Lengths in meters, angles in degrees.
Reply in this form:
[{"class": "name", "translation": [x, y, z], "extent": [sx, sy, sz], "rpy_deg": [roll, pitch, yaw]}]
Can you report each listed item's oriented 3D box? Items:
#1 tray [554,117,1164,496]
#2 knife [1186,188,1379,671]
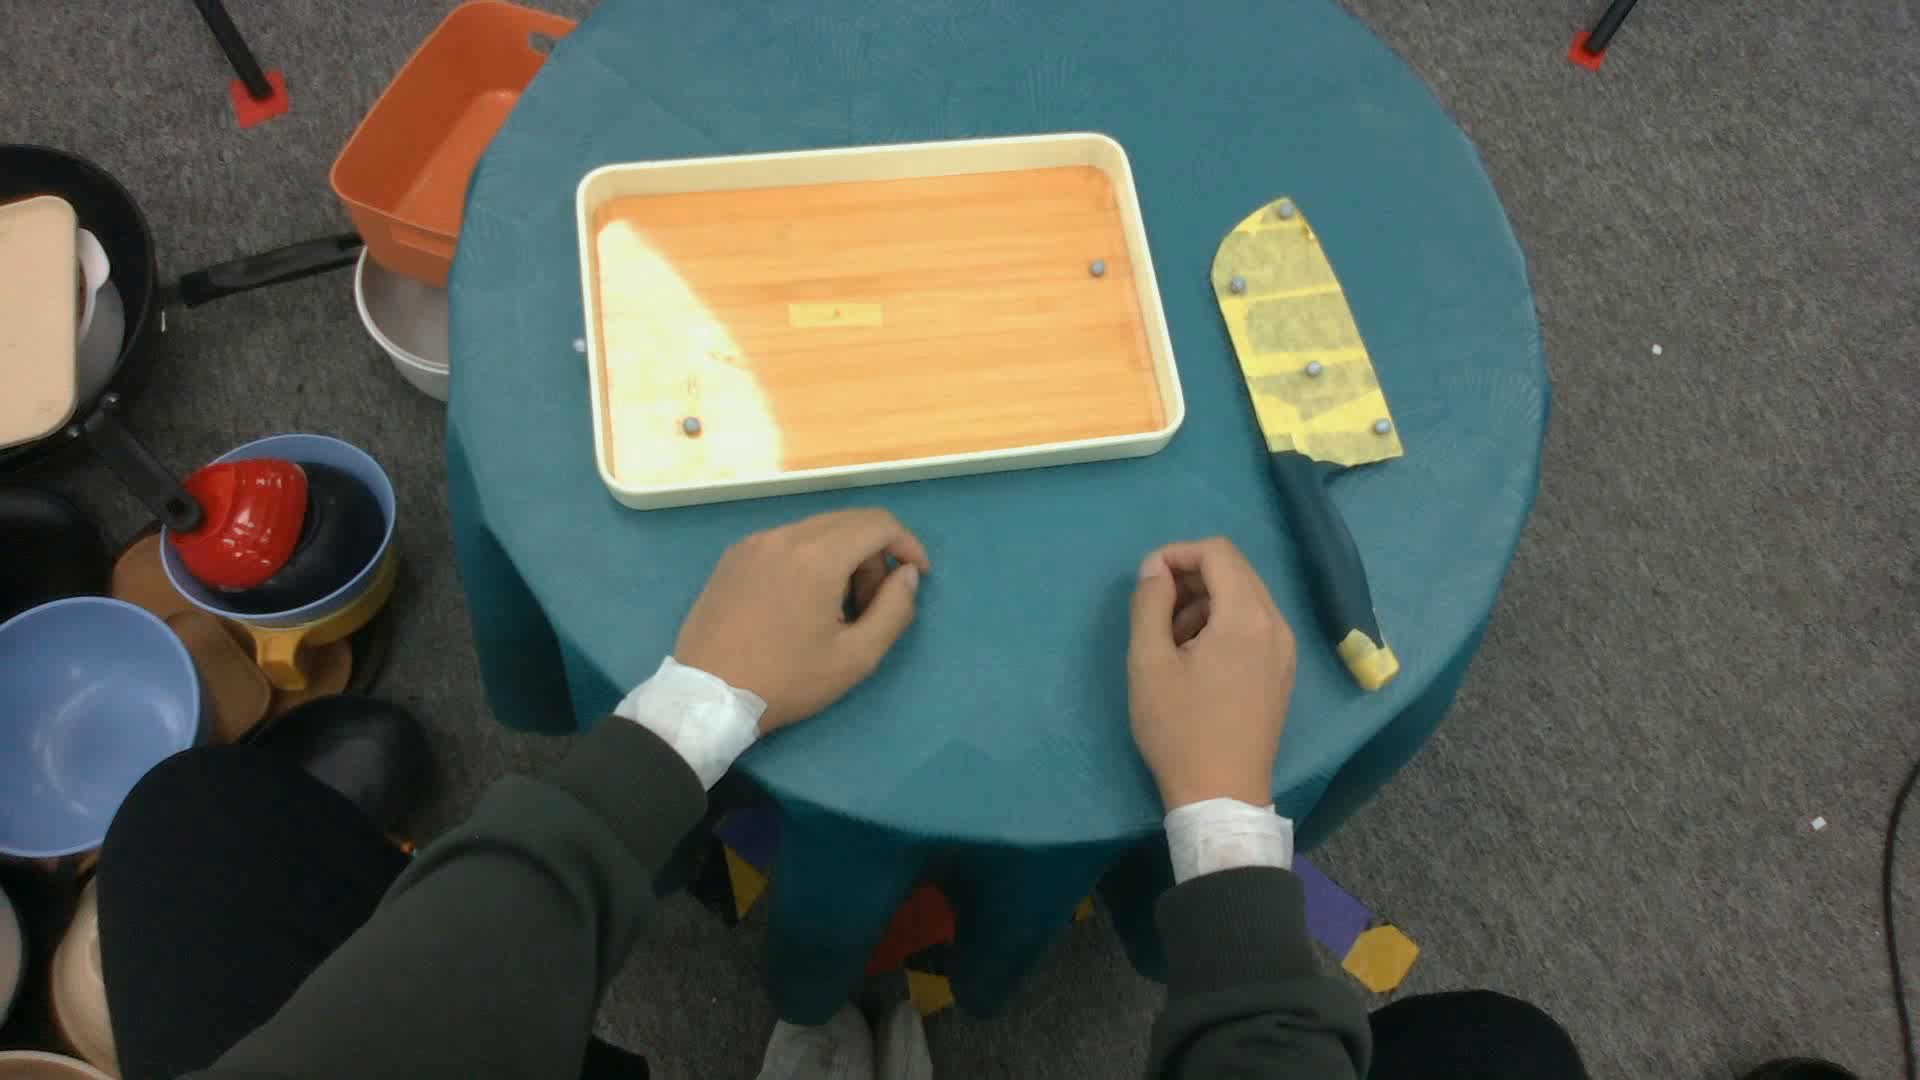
[{"class": "tray", "translation": [-0.054, -0.128, 0.728], "extent": [0.300, 0.027, 0.192], "rpy_deg": [-7, 71, -9]}, {"class": "knife", "translation": [0.184, -0.070, 0.742], "extent": [0.081, 0.027, 0.290], "rpy_deg": [-7, 69, -8]}]
